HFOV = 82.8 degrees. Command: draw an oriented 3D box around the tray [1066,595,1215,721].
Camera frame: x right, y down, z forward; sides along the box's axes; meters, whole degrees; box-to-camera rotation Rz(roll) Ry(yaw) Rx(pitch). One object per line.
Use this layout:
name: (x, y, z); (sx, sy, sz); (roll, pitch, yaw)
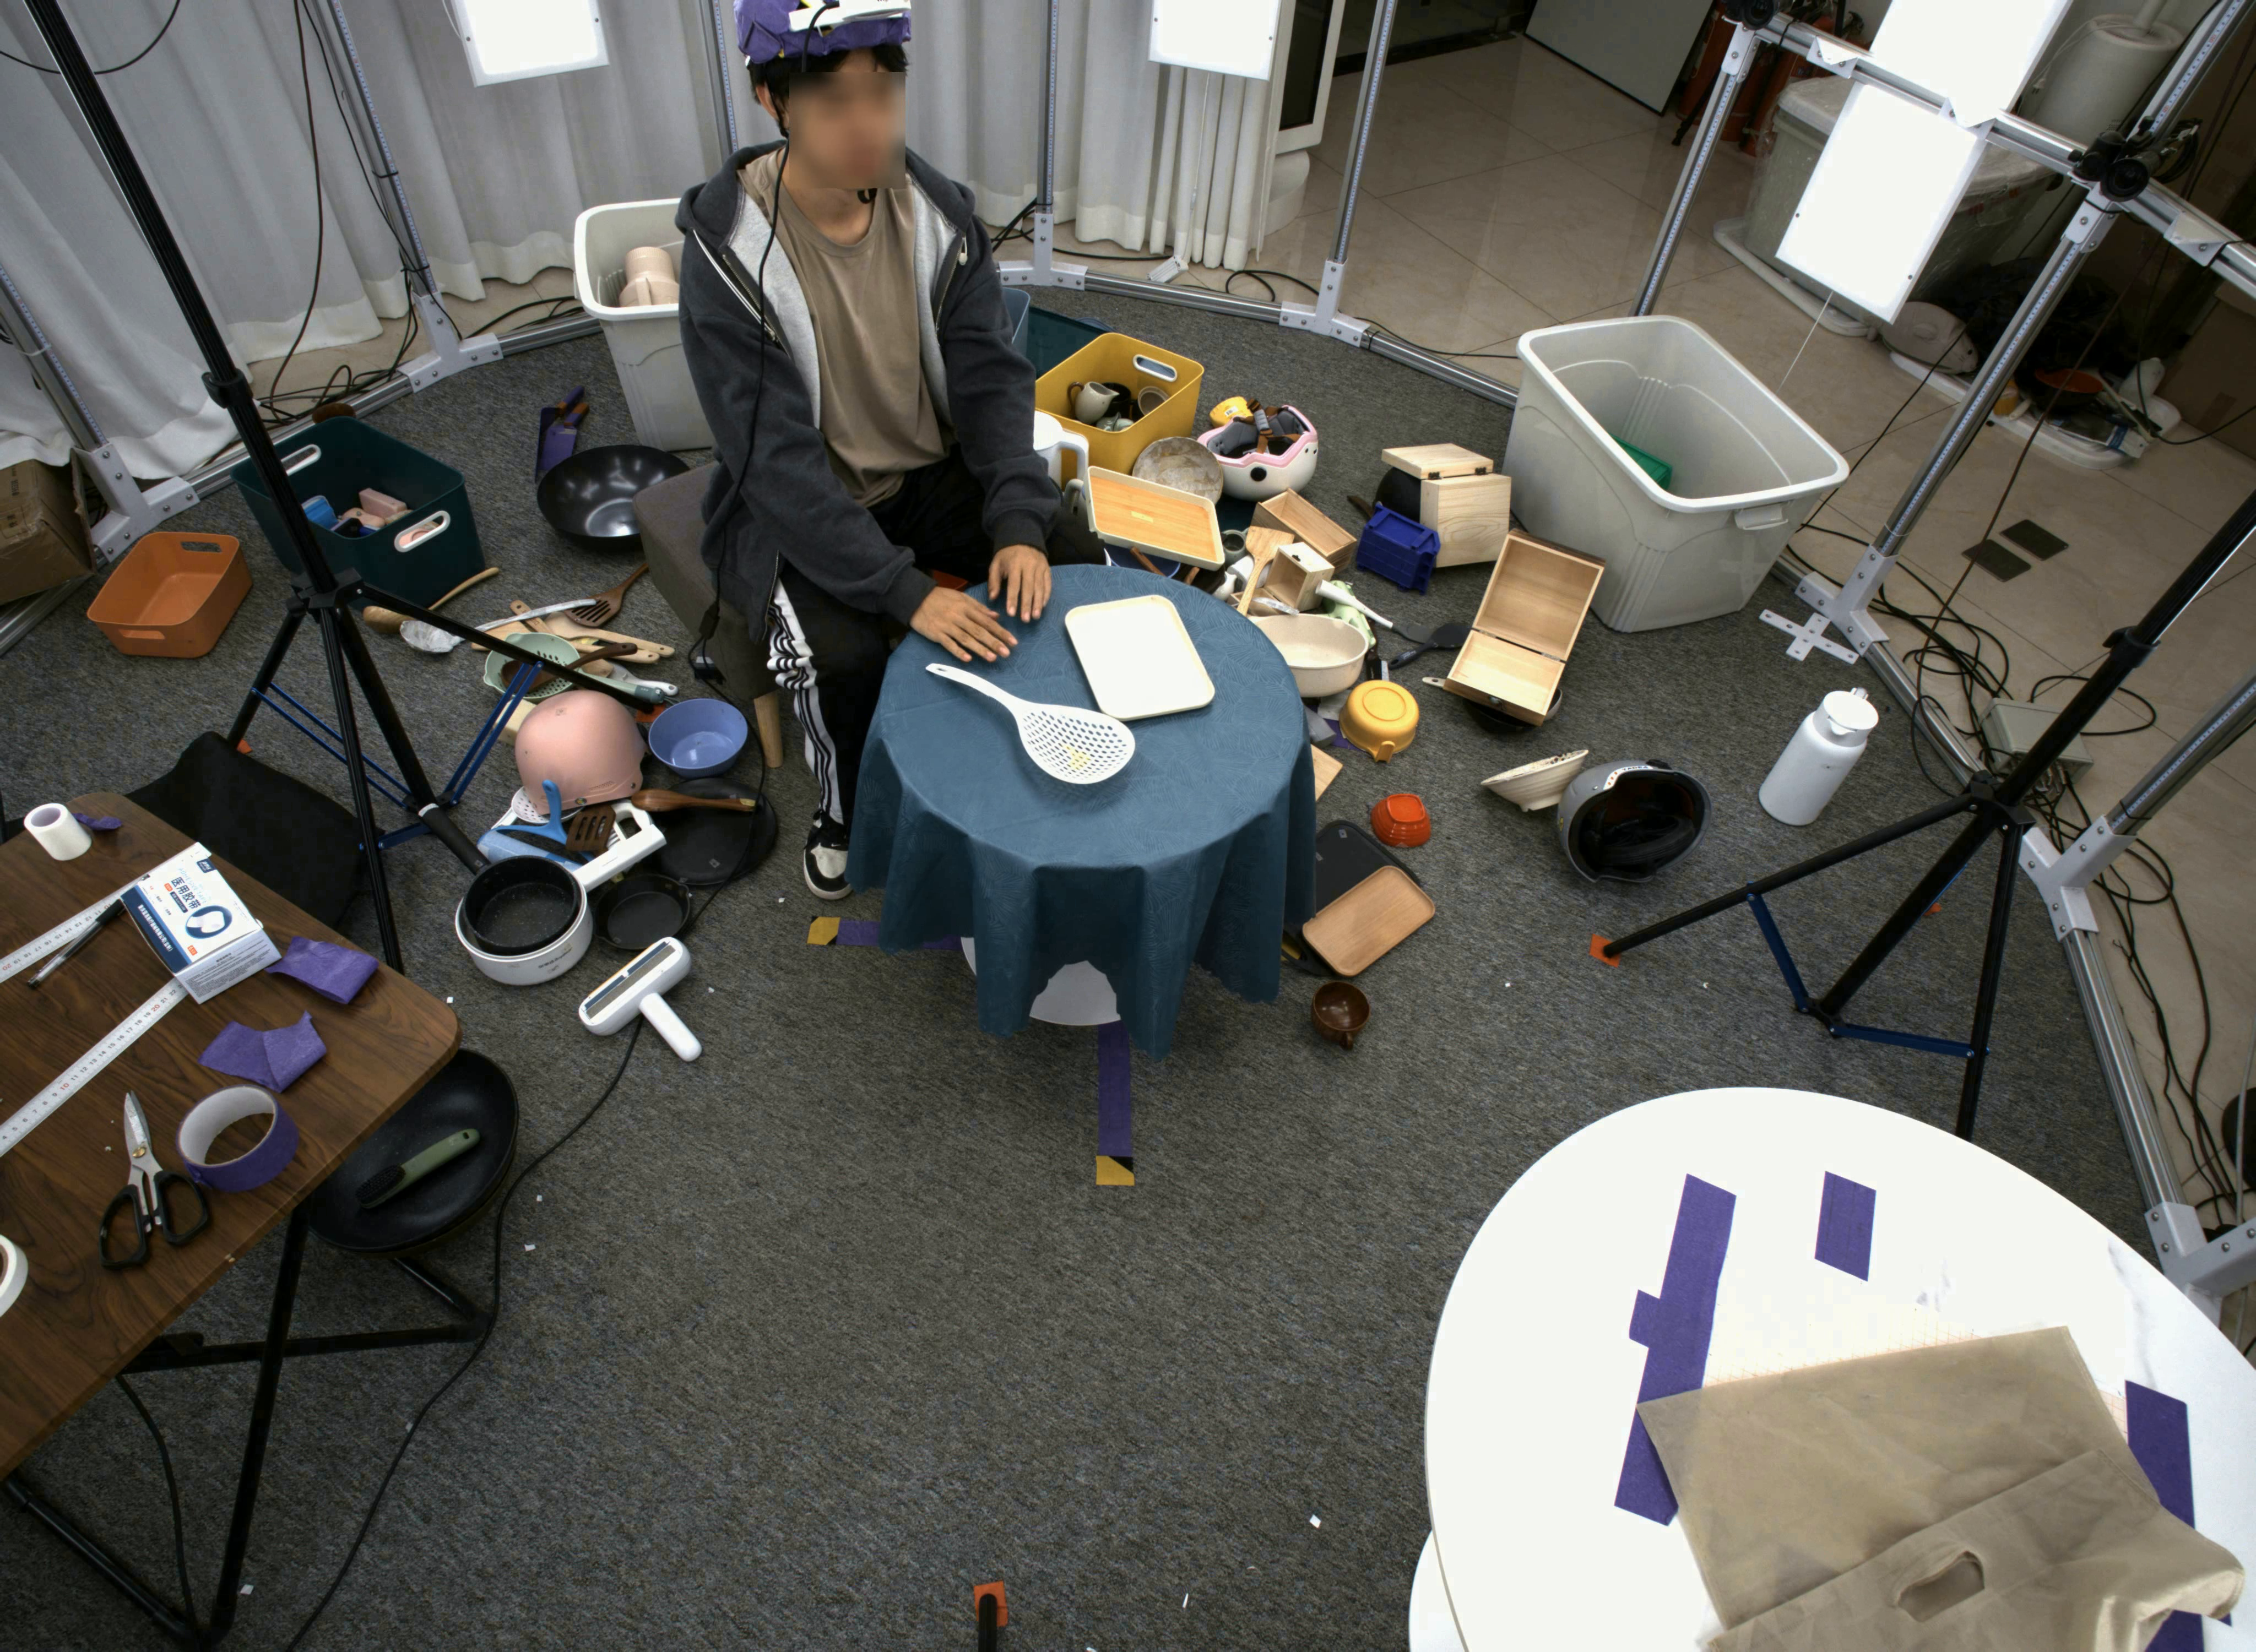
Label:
tray: (0.015, -0.247, 1.870); (0.171, 0.017, 0.245); (-11, 51, -13)

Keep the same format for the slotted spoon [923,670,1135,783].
slotted spoon: (-0.147, -0.153, 1.763); (0.352, 0.049, 0.138); (32, 57, 23)
